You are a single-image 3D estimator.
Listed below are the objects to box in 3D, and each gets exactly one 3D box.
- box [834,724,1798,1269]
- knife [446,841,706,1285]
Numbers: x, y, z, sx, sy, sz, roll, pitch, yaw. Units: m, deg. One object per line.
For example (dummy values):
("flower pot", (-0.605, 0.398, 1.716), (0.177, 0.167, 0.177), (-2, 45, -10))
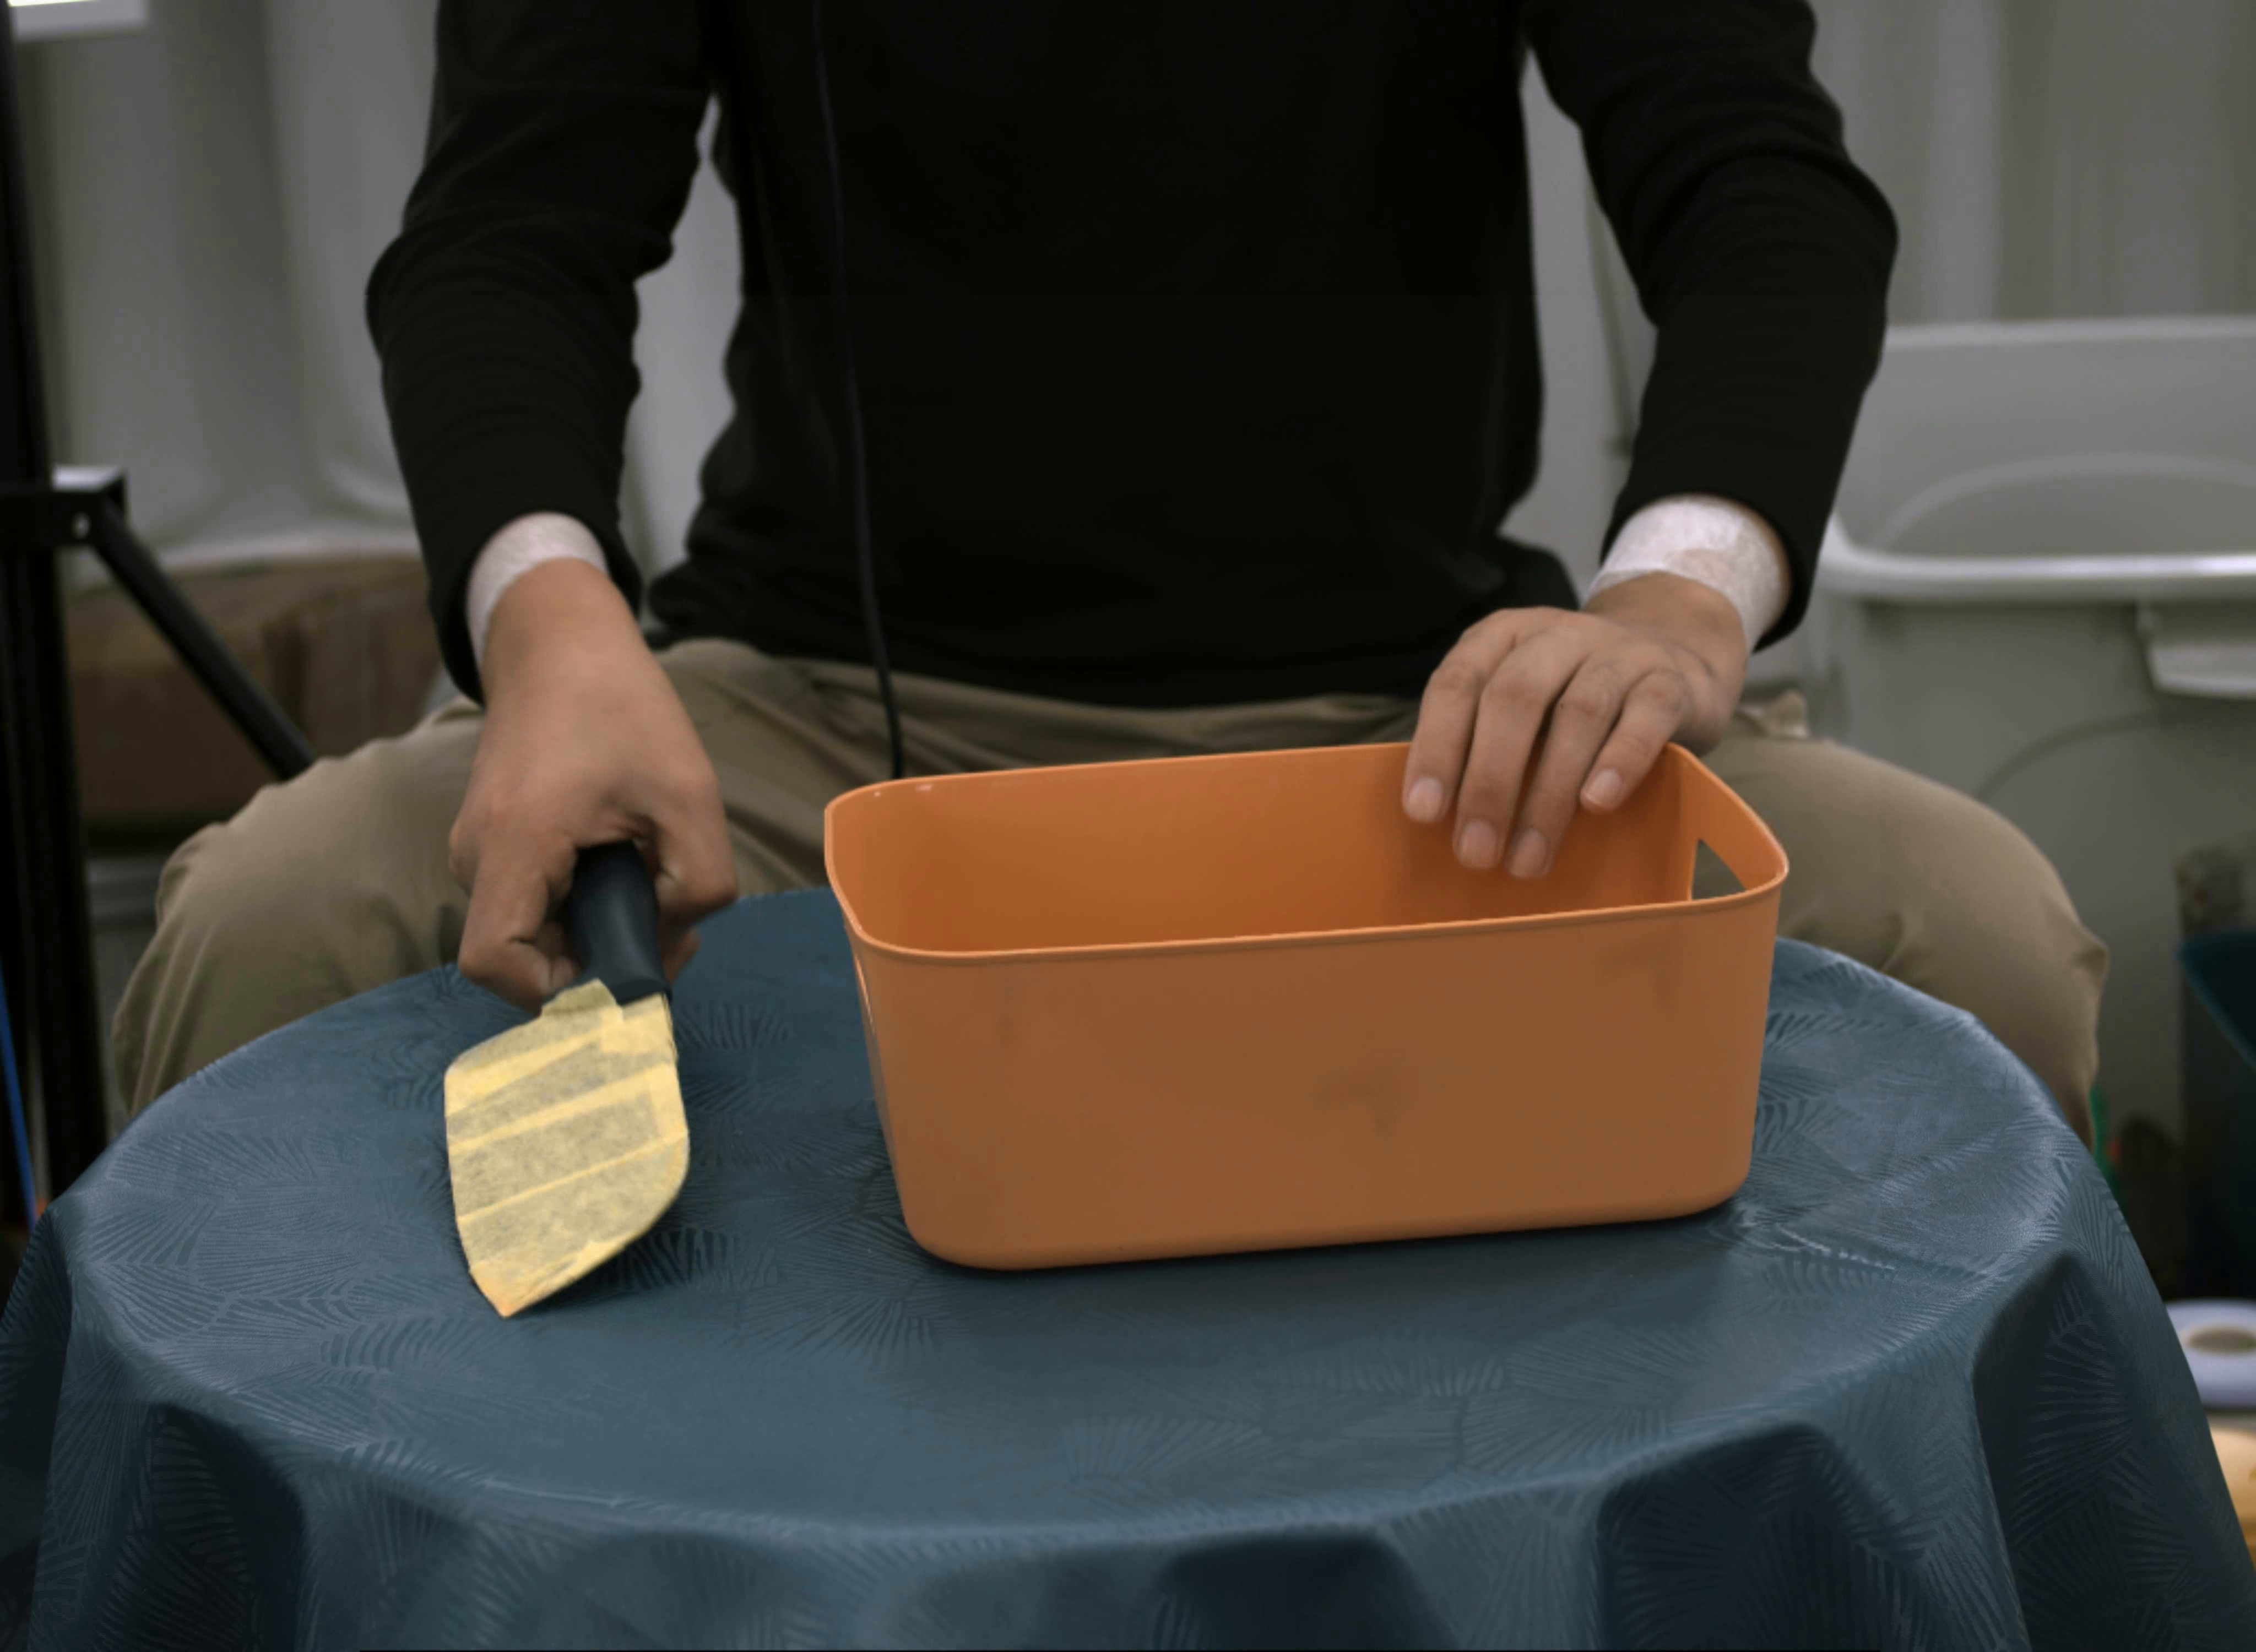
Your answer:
("box", (0.051, 0.049, 1.567), (0.271, 0.102, 0.201), (-4, 16, -5))
("knife", (-0.168, 0.071, 1.616), (0.081, 0.027, 0.292), (-13, 23, 1))
